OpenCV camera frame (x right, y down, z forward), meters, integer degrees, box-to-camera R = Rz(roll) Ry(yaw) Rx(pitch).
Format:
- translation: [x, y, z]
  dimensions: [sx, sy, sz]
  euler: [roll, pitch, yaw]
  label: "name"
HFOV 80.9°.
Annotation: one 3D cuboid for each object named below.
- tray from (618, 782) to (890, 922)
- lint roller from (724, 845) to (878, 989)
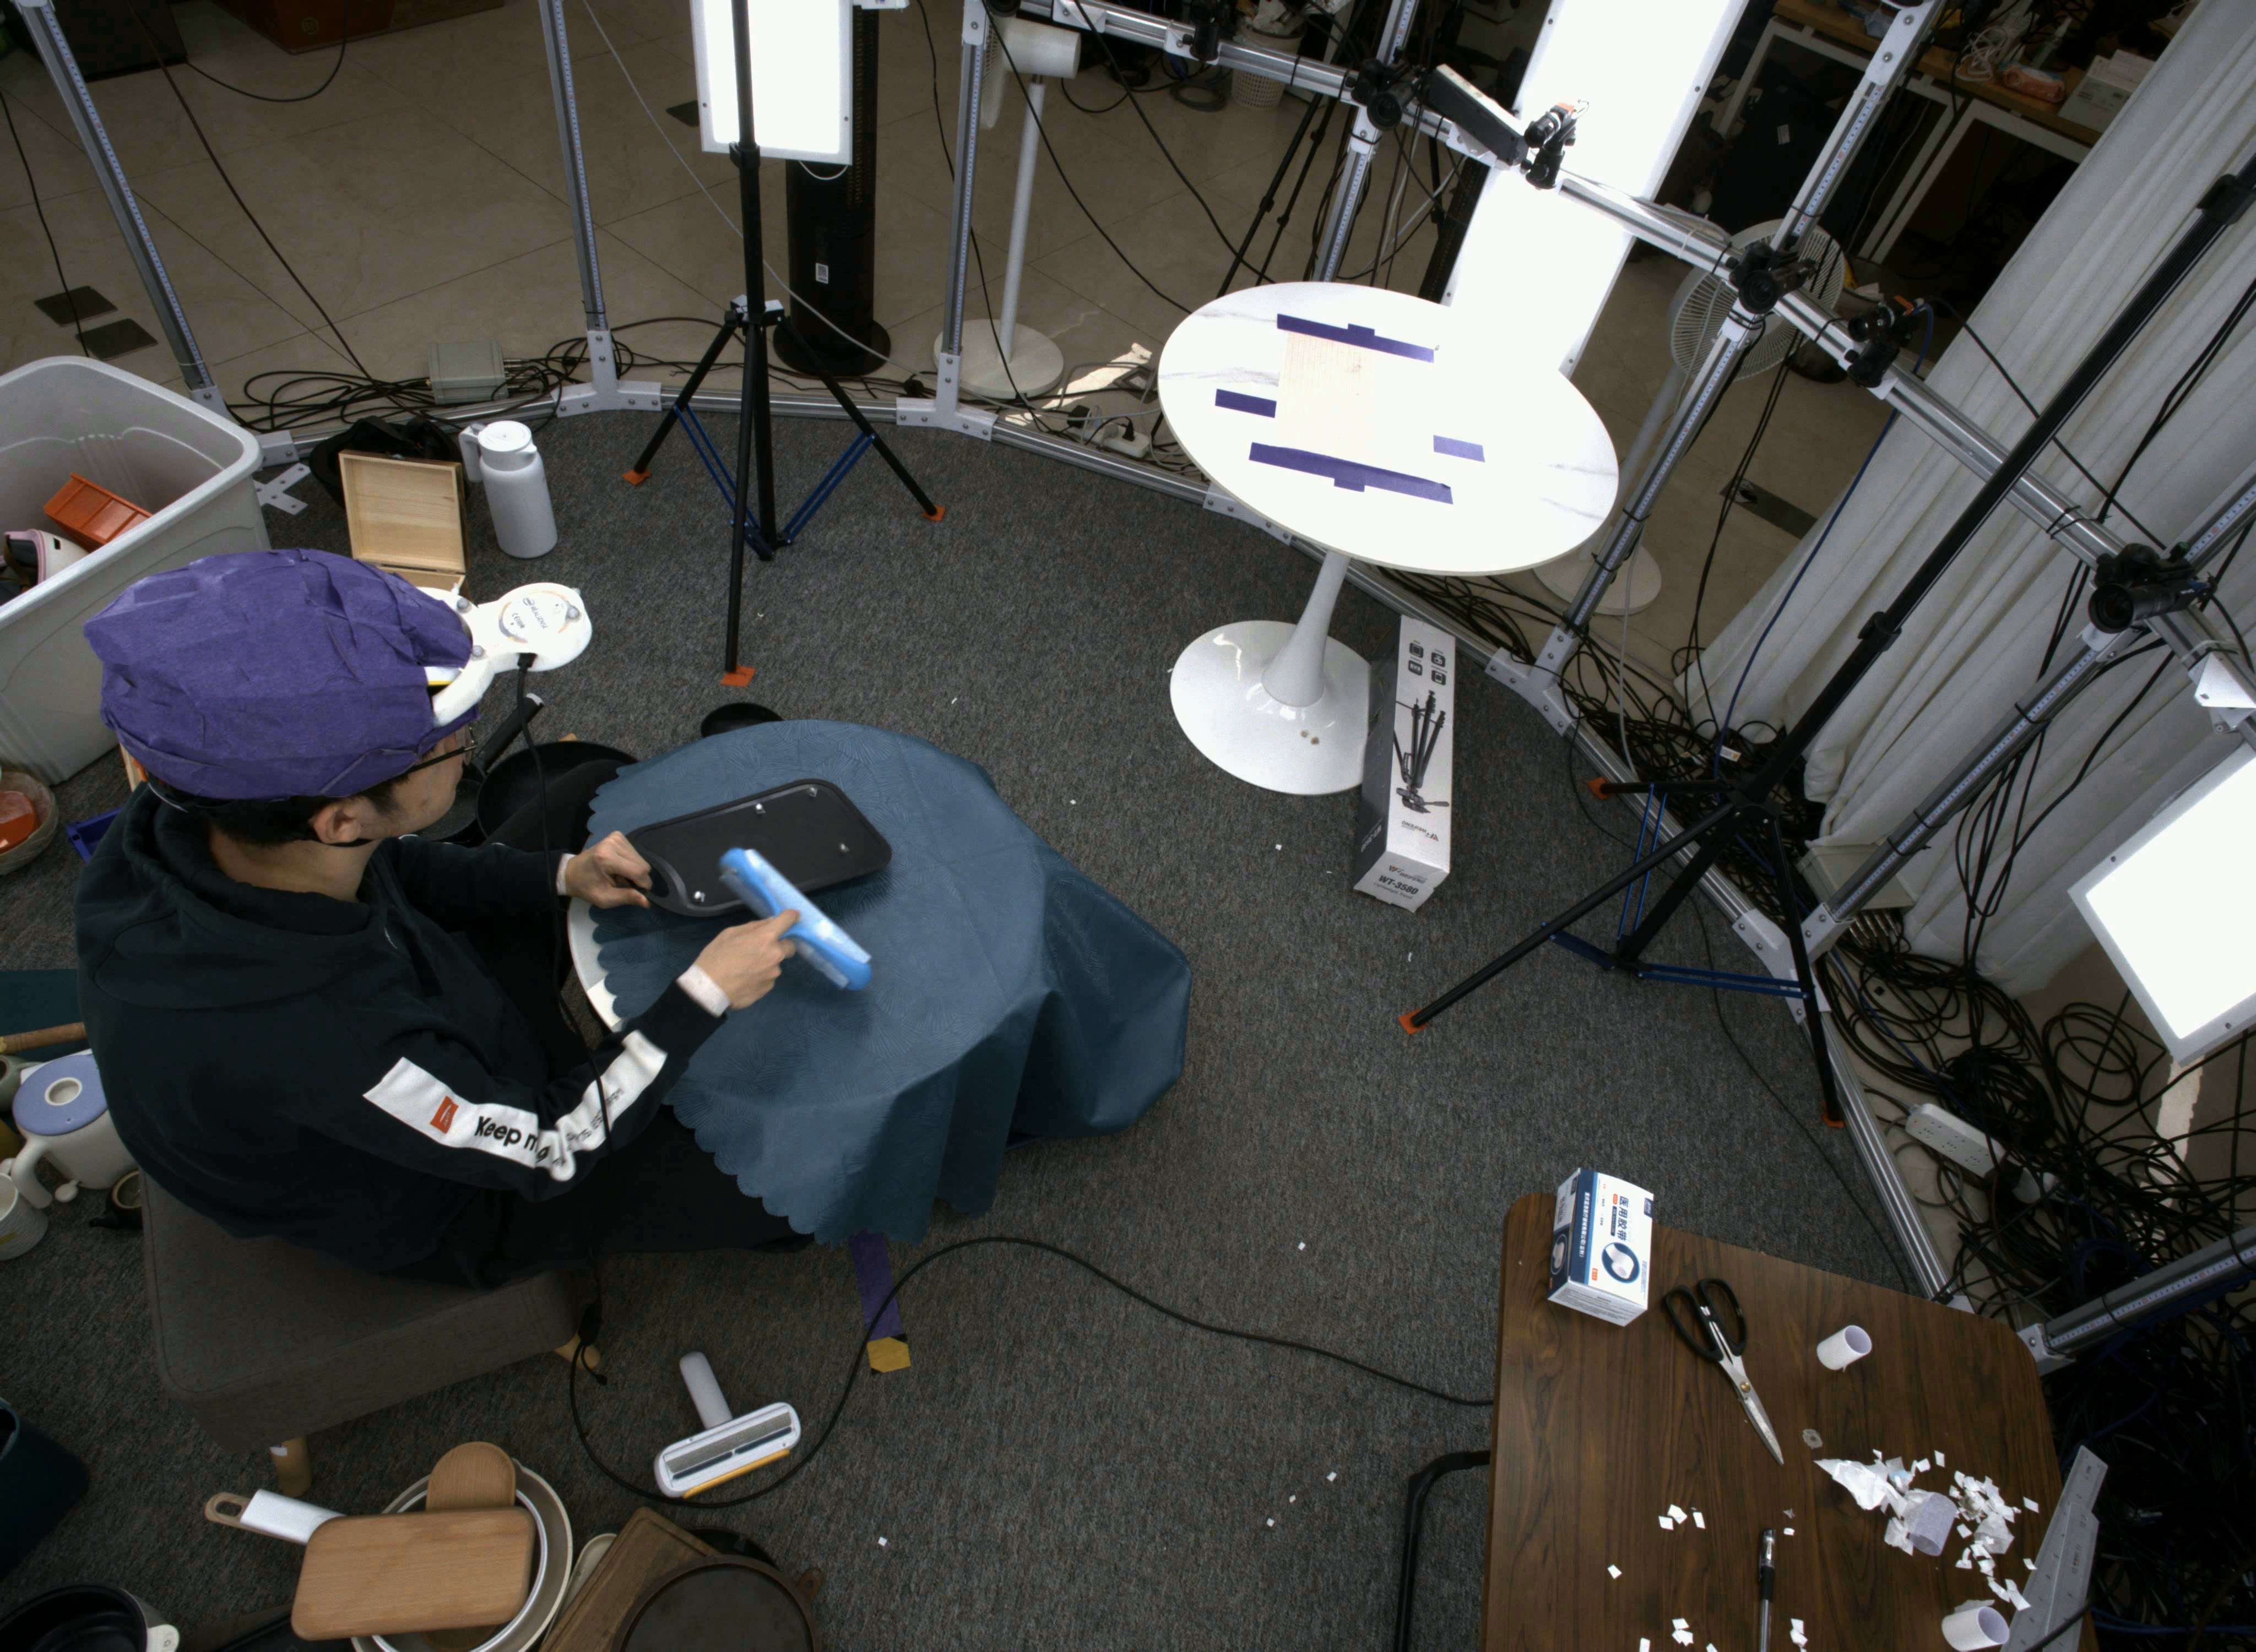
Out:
- translation: [-0.478, 0.026, 1.639]
  dimensions: [0.329, 0.010, 0.204]
  euler: [-17, 48, -38]
  label: "tray"
- translation: [-0.403, 0.127, 1.504]
  dimensions: [0.231, 0.068, 0.178]
  euler: [44, 23, -8]
  label: "lint roller"
